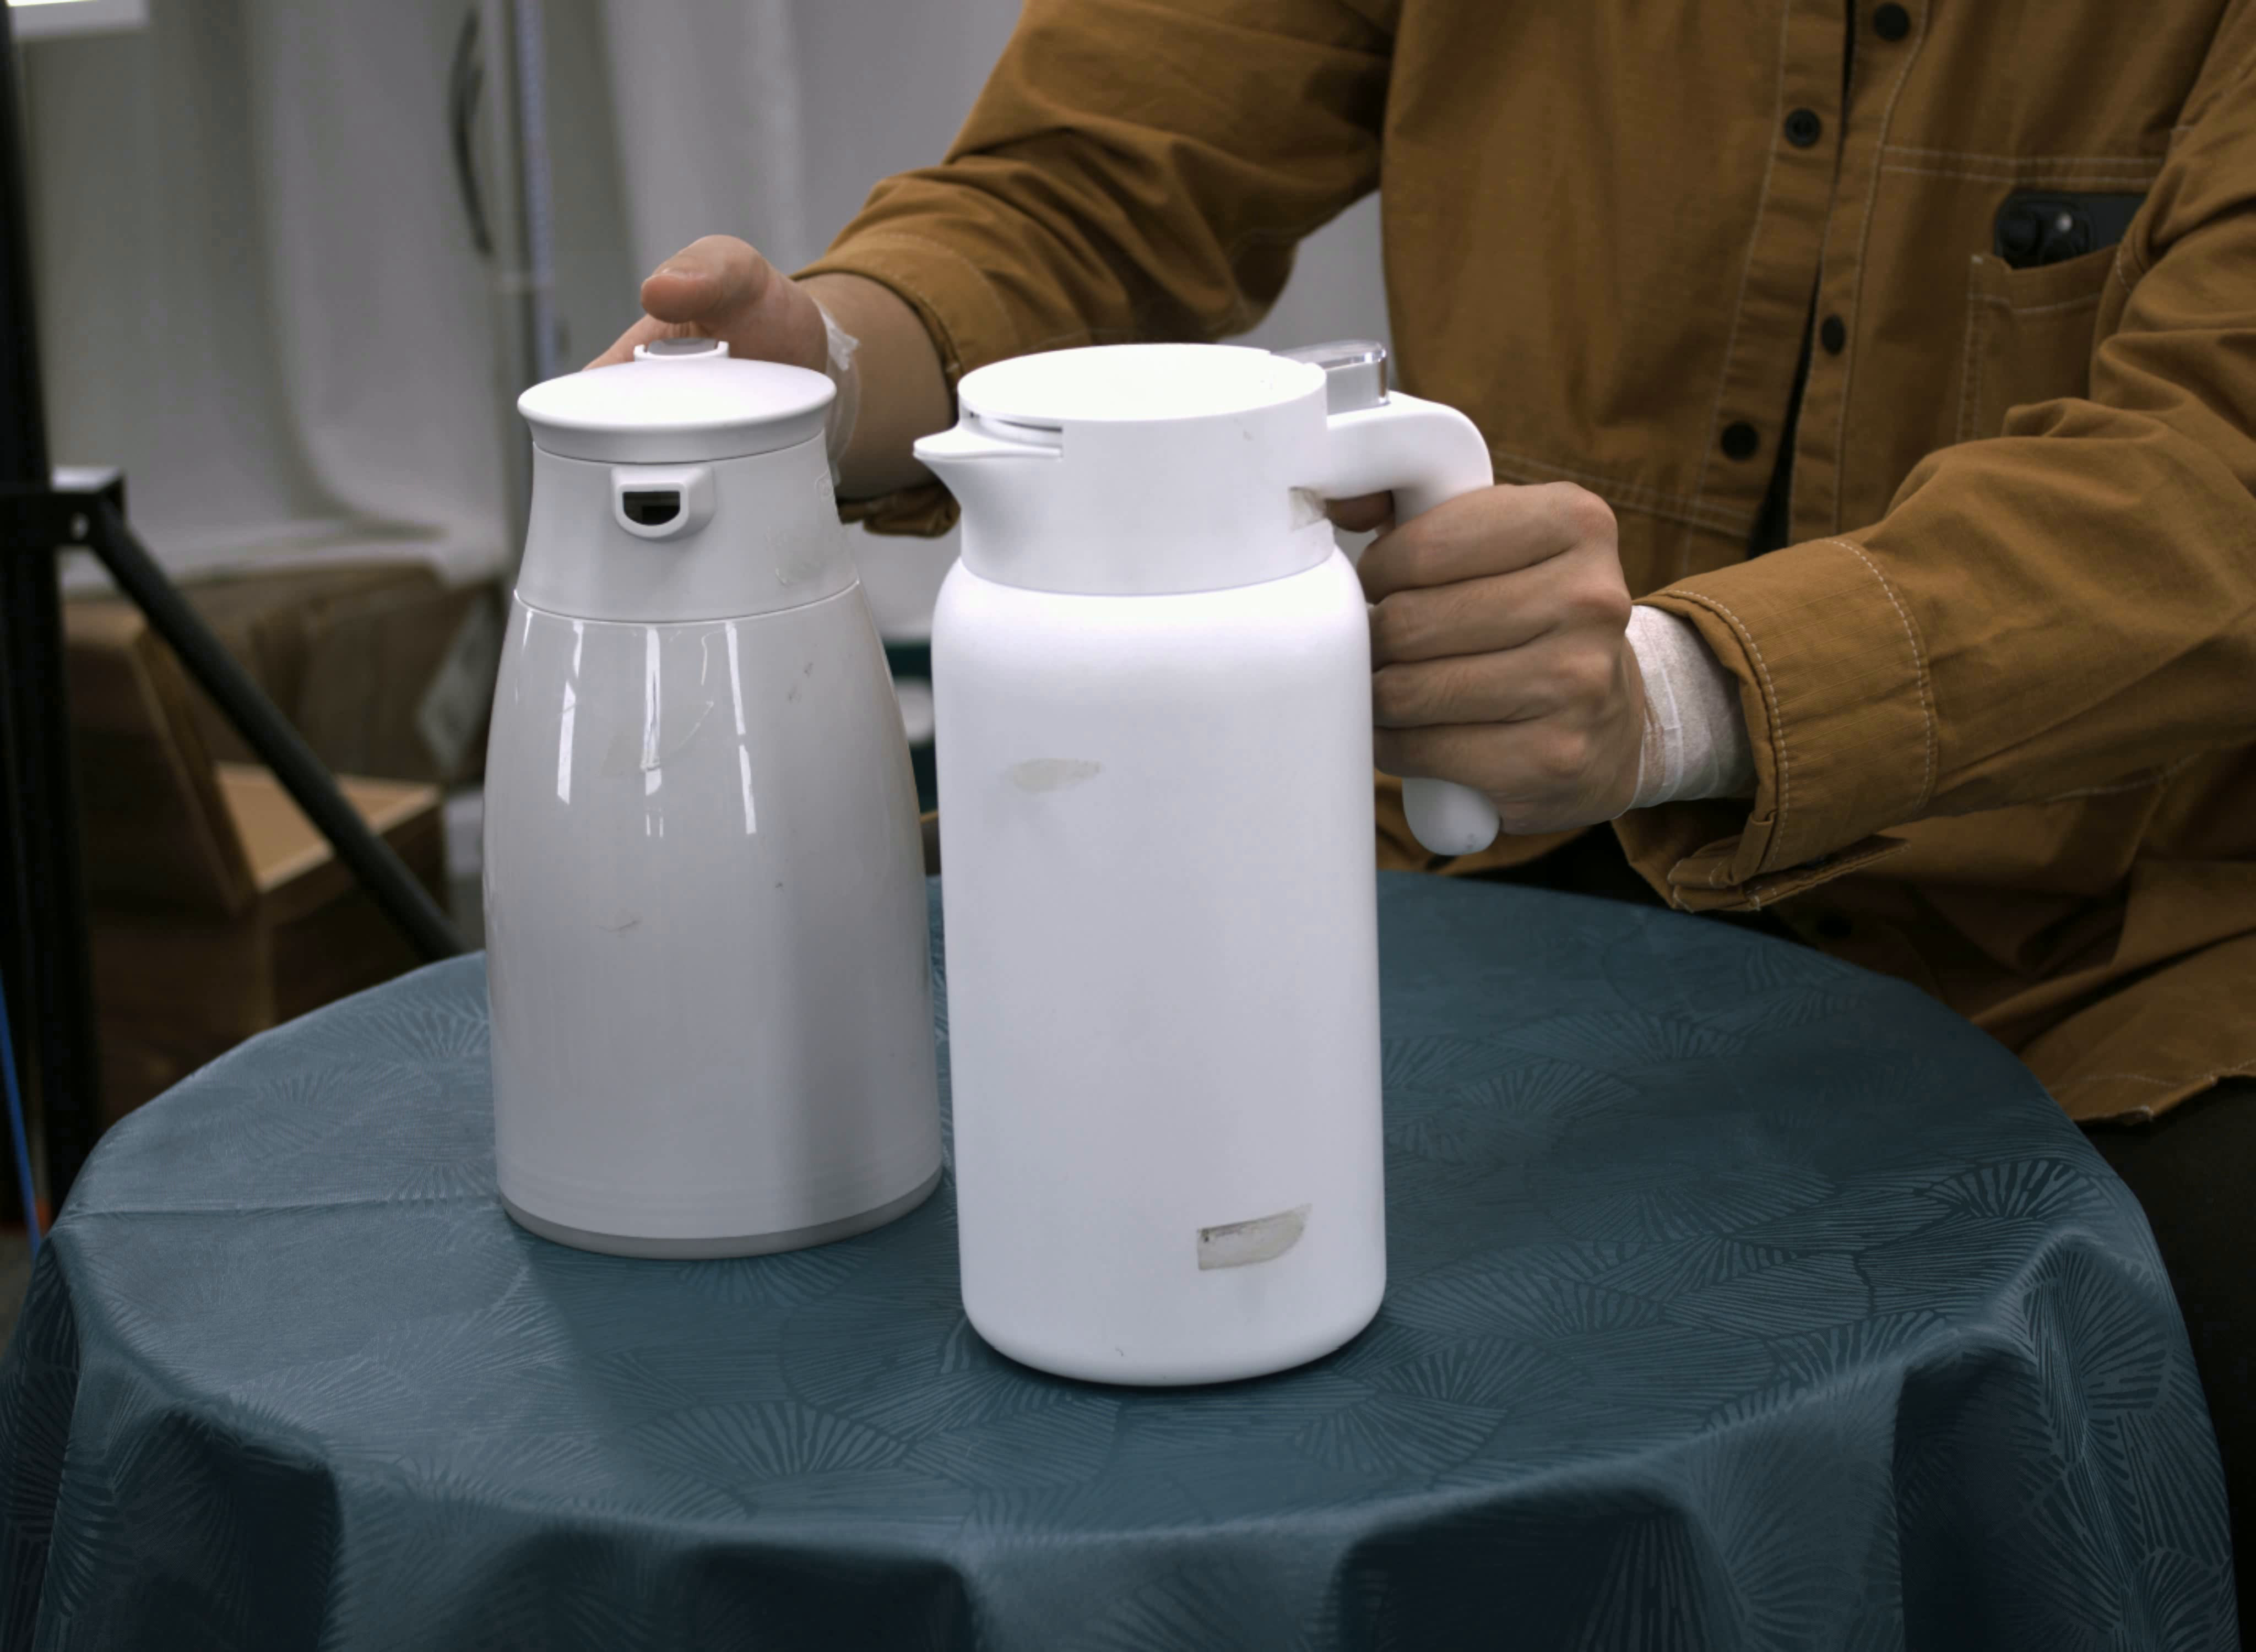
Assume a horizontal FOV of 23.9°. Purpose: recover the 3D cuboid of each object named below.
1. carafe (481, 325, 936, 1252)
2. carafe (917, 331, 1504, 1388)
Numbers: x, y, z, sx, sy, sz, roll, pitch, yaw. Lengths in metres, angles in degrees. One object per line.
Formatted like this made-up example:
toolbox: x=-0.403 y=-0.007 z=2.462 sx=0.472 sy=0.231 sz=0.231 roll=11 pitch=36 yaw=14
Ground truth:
carafe: x=-0.125 y=-0.019 z=1.567 sx=0.132 sy=0.249 sz=0.168 roll=-1 pitch=14 yaw=4
carafe: x=0.023 y=0.005 z=1.427 sx=0.169 sy=0.269 sz=0.126 roll=-11 pitch=15 yaw=-29
